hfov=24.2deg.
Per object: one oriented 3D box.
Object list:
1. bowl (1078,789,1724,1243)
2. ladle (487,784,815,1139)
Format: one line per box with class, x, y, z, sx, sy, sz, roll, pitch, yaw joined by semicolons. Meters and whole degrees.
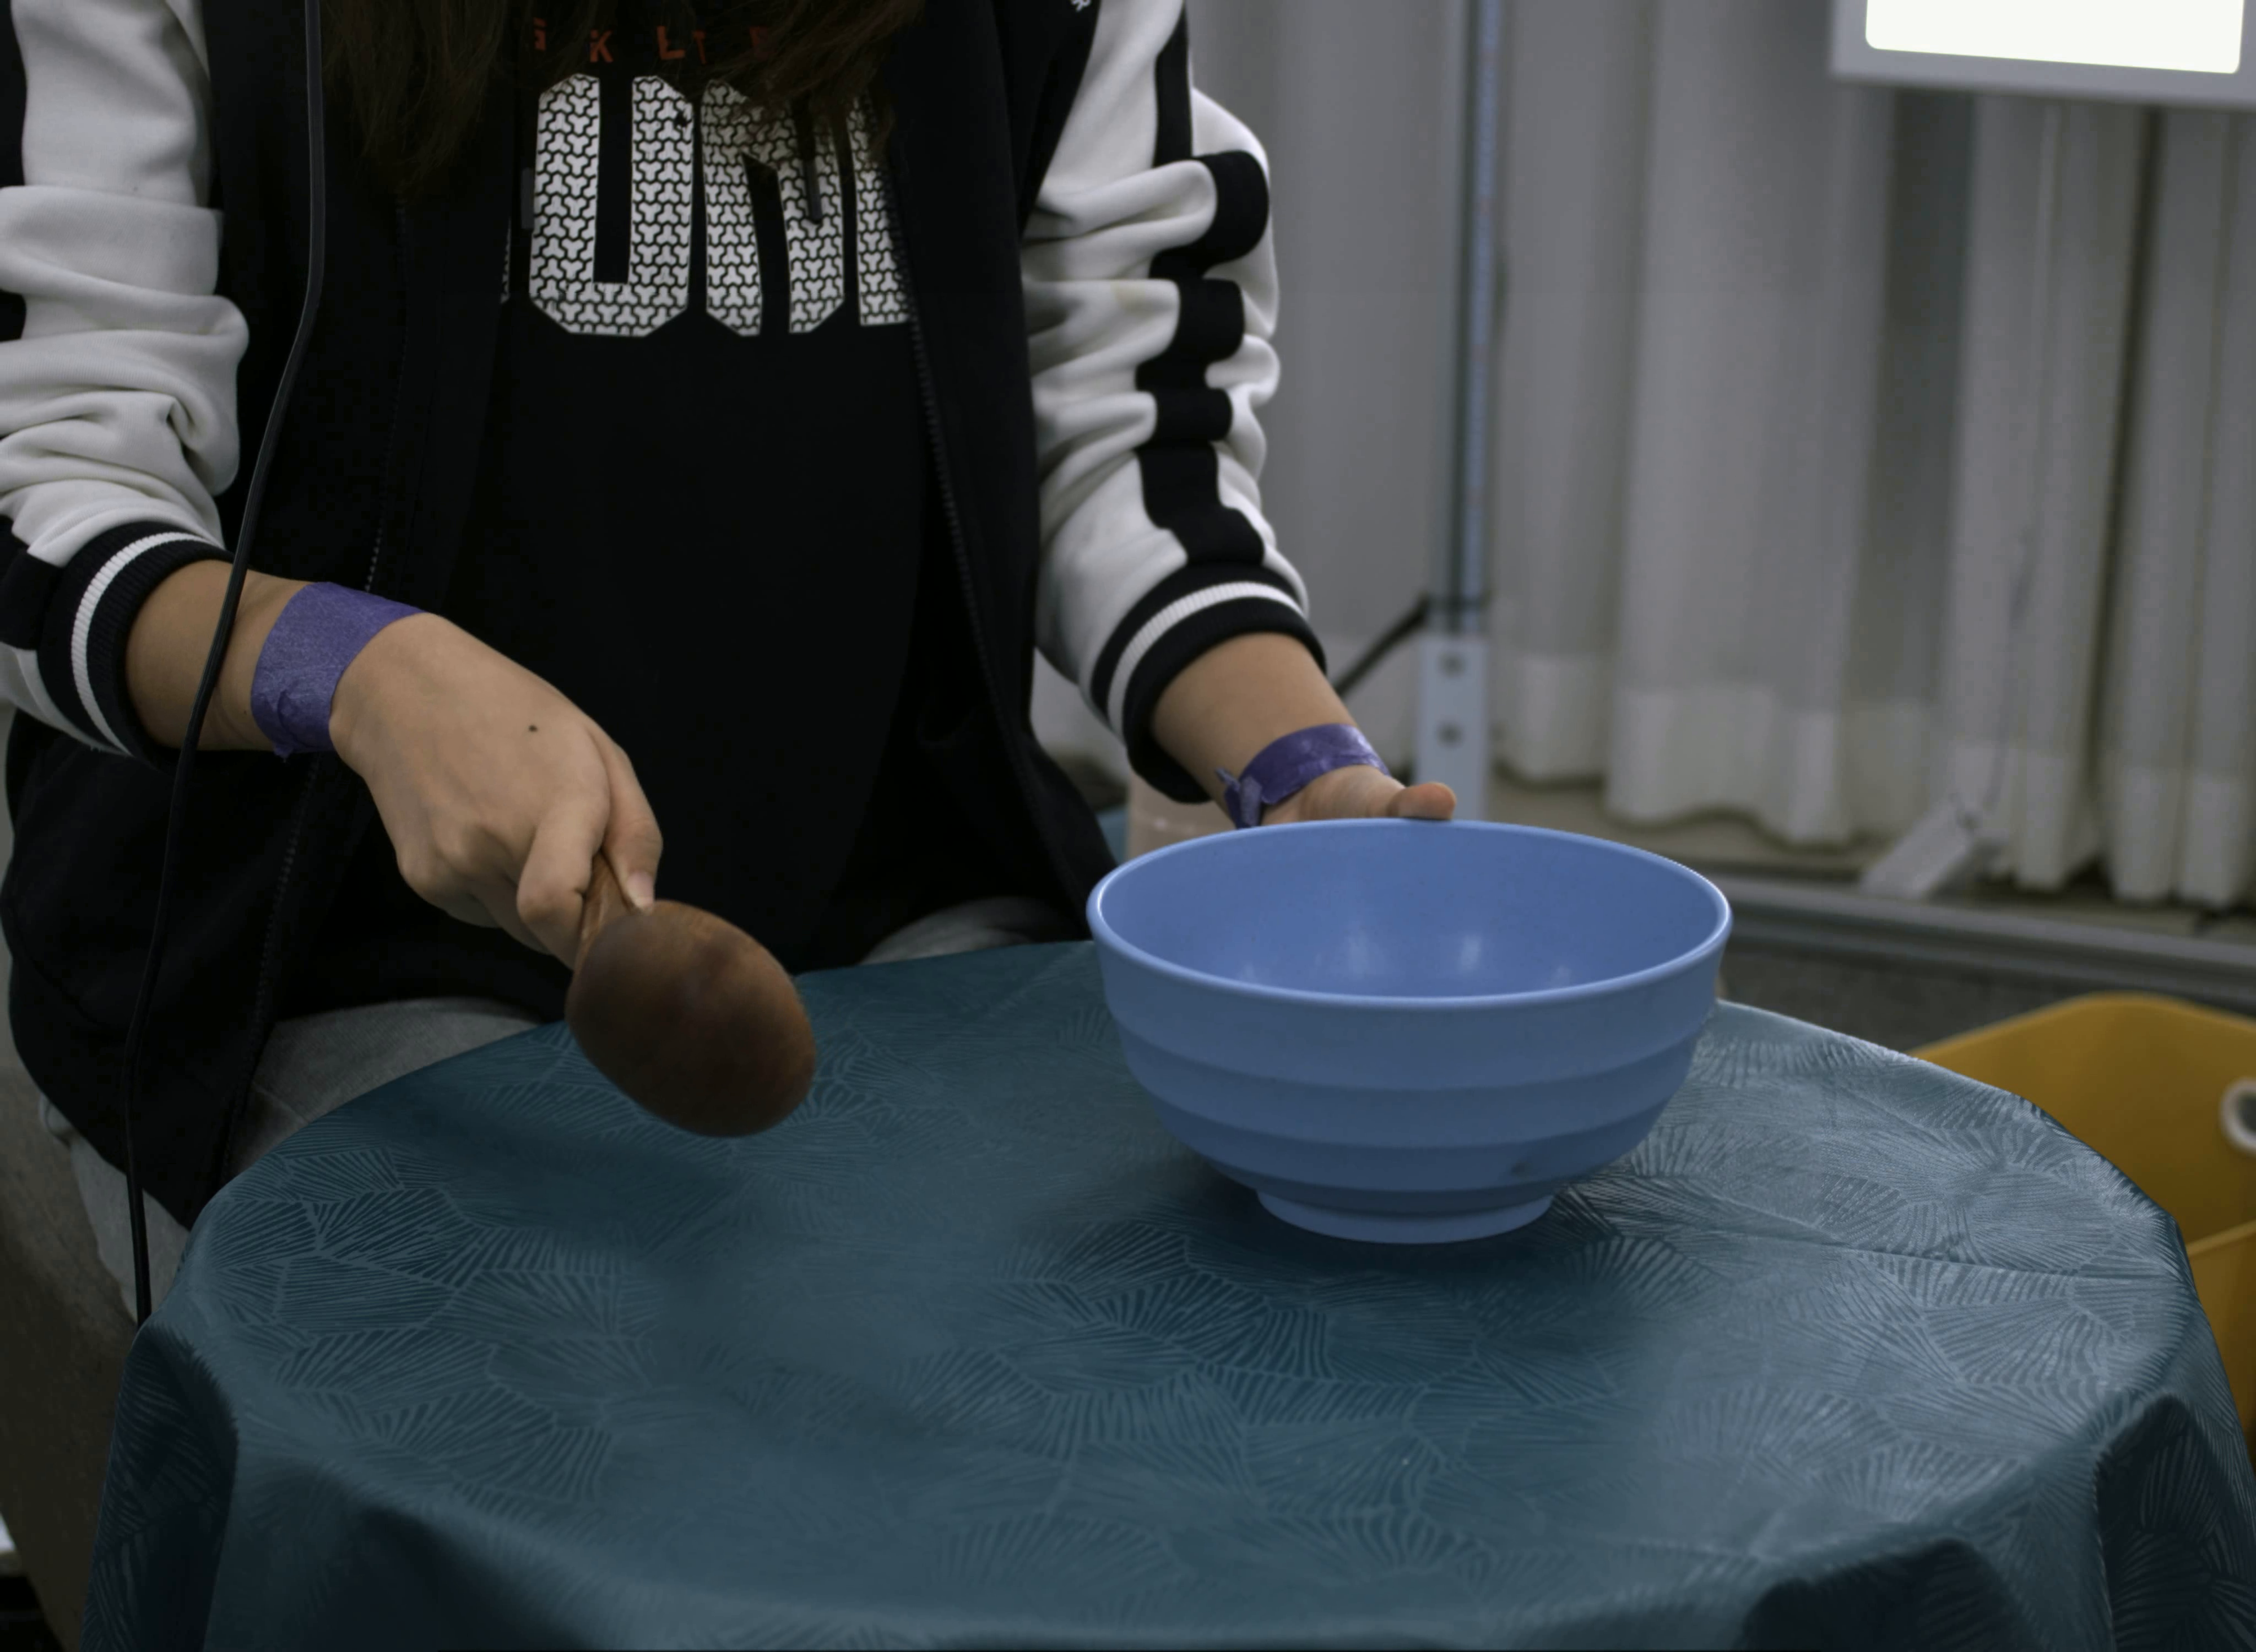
bowl;0.085;0.066;1.615;0.196;0.096;0.195;-2;21;1
ladle;-0.144;0.025;1.547;0.065;0.077;0.257;-24;21;-5
